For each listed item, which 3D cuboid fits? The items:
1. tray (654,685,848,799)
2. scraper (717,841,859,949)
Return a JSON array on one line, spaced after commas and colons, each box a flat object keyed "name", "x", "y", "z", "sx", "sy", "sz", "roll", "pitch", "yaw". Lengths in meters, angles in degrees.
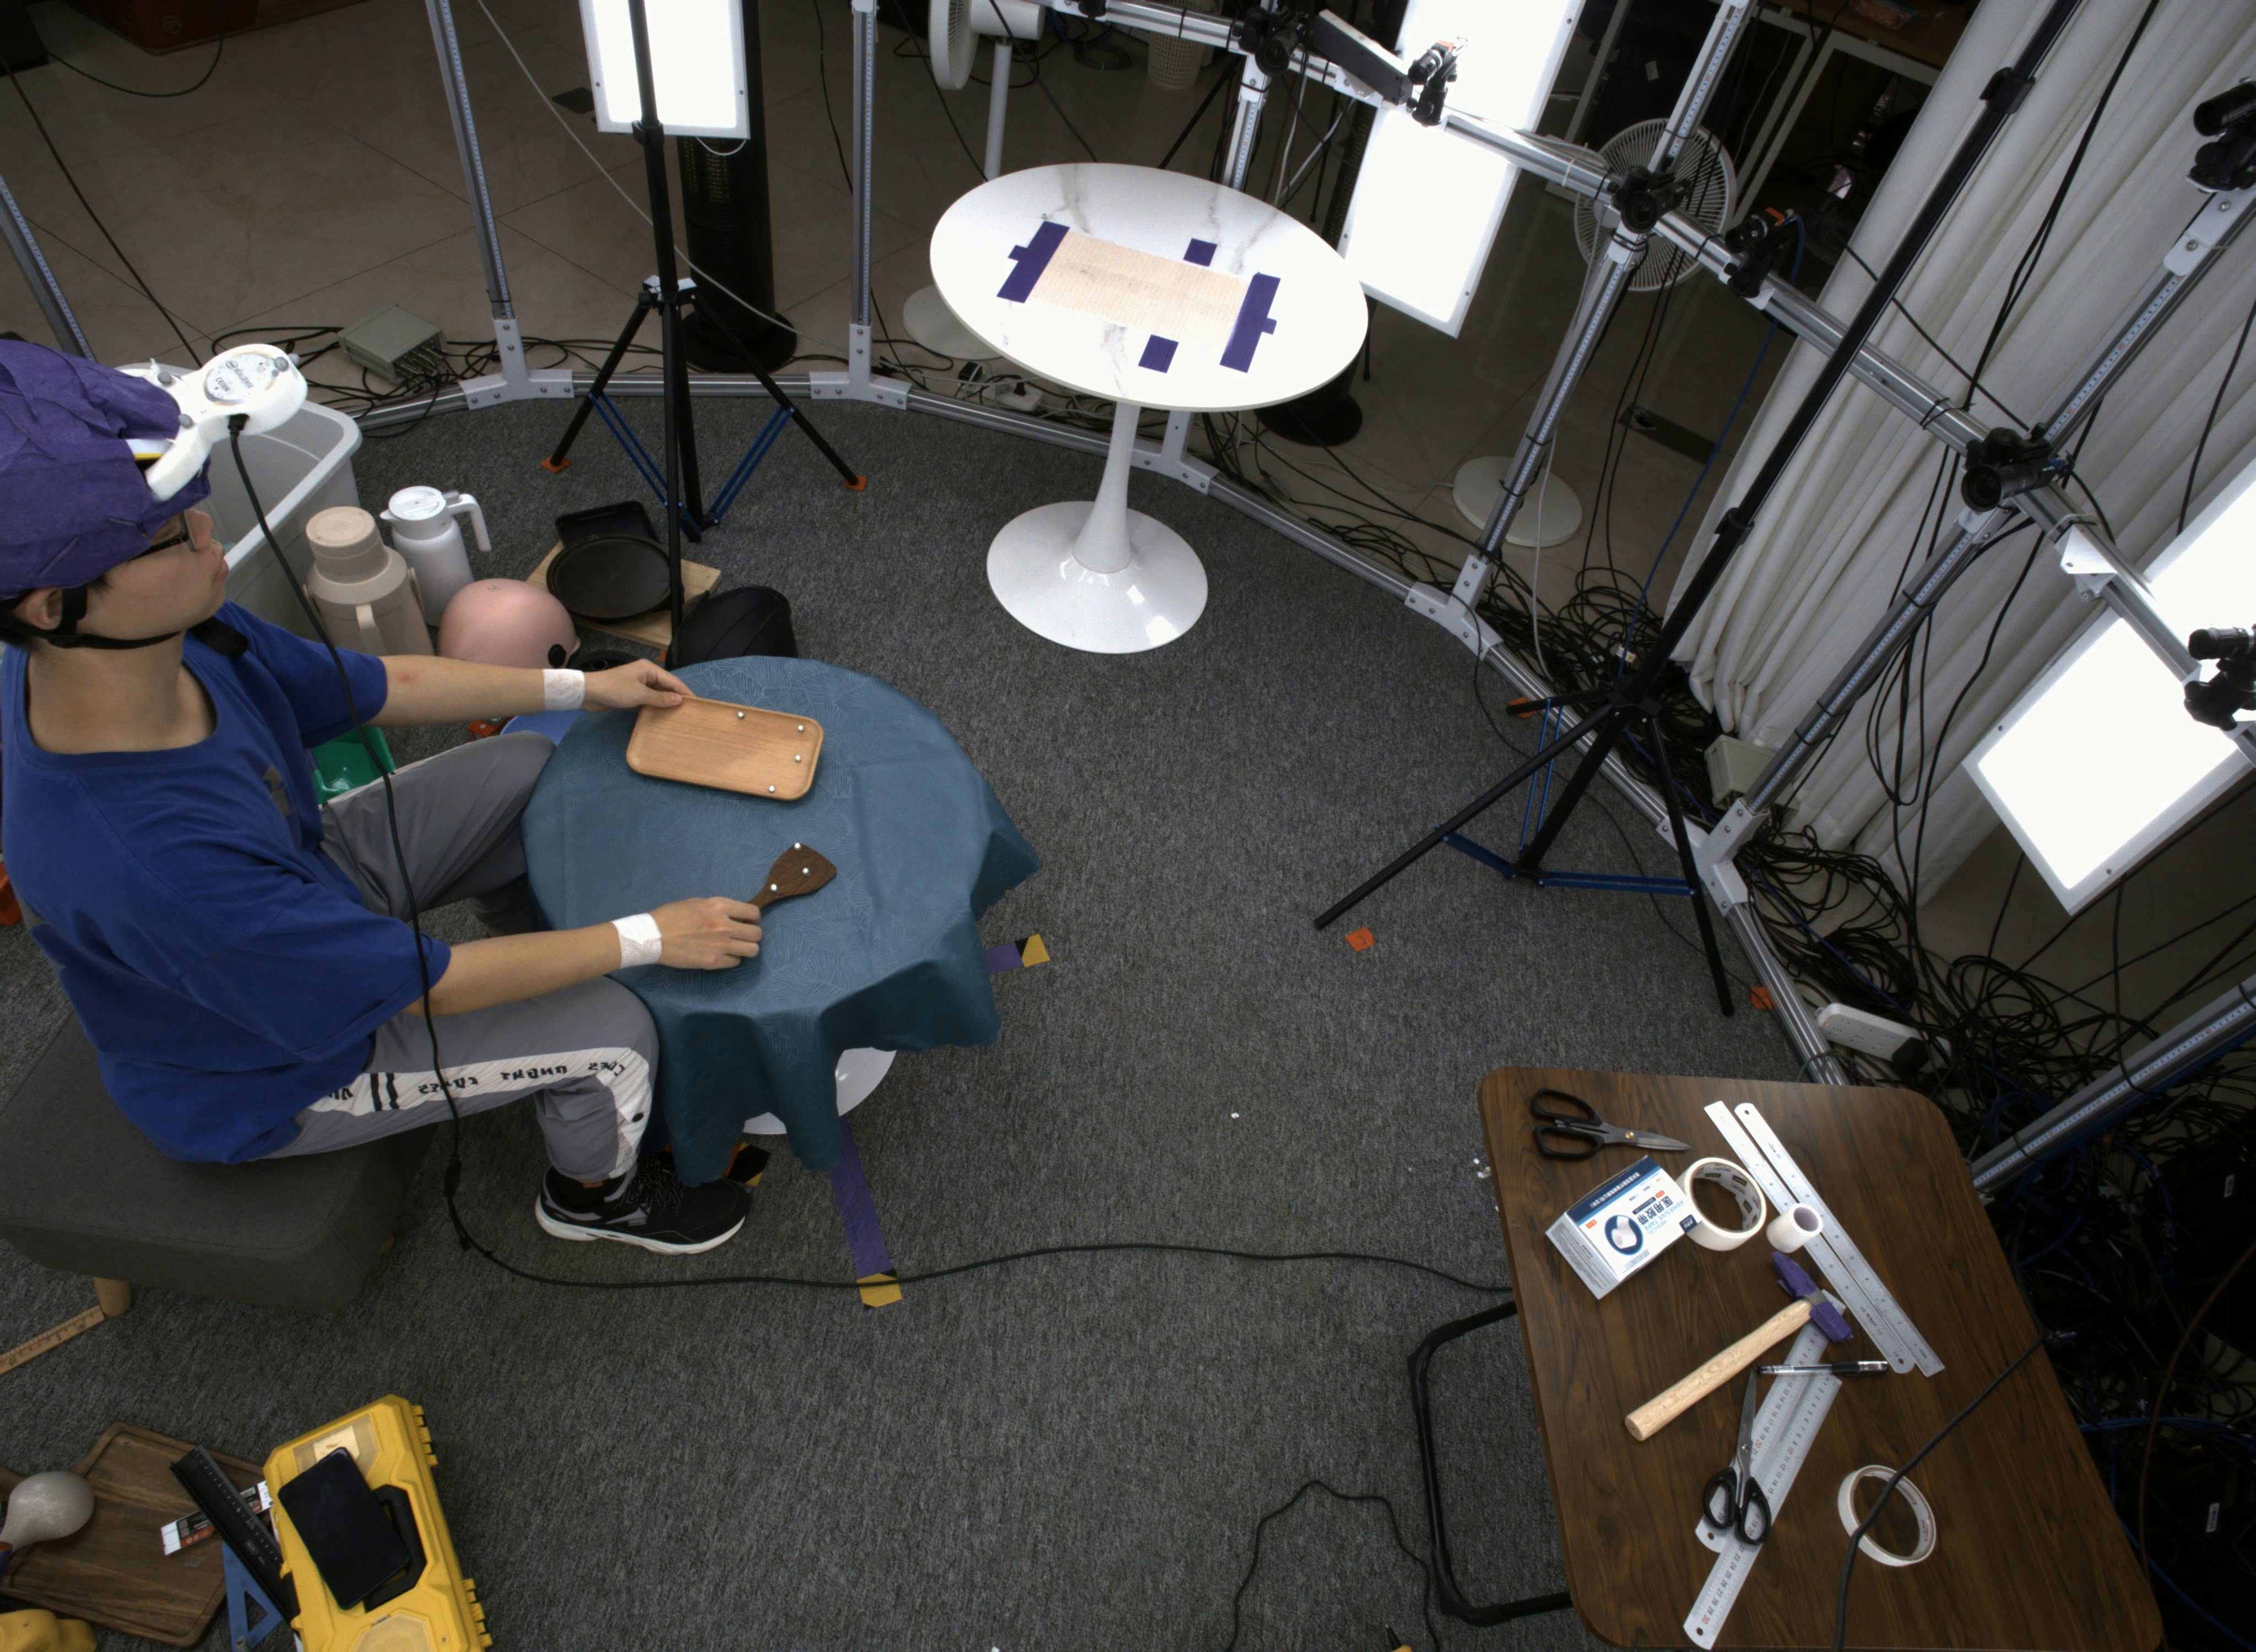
[{"name": "tray", "x": -0.515, "y": -0.115, "z": 1.766, "sx": 0.249, "sy": 0.023, "sz": 0.129, "roll": 12, "pitch": 64, "yaw": -5}, {"name": "scraper", "x": -0.437, "y": 0.089, "z": 1.649, "sx": 0.074, "sy": 0.011, "sz": 0.211, "roll": 35, "pitch": 48, "yaw": 15}]
